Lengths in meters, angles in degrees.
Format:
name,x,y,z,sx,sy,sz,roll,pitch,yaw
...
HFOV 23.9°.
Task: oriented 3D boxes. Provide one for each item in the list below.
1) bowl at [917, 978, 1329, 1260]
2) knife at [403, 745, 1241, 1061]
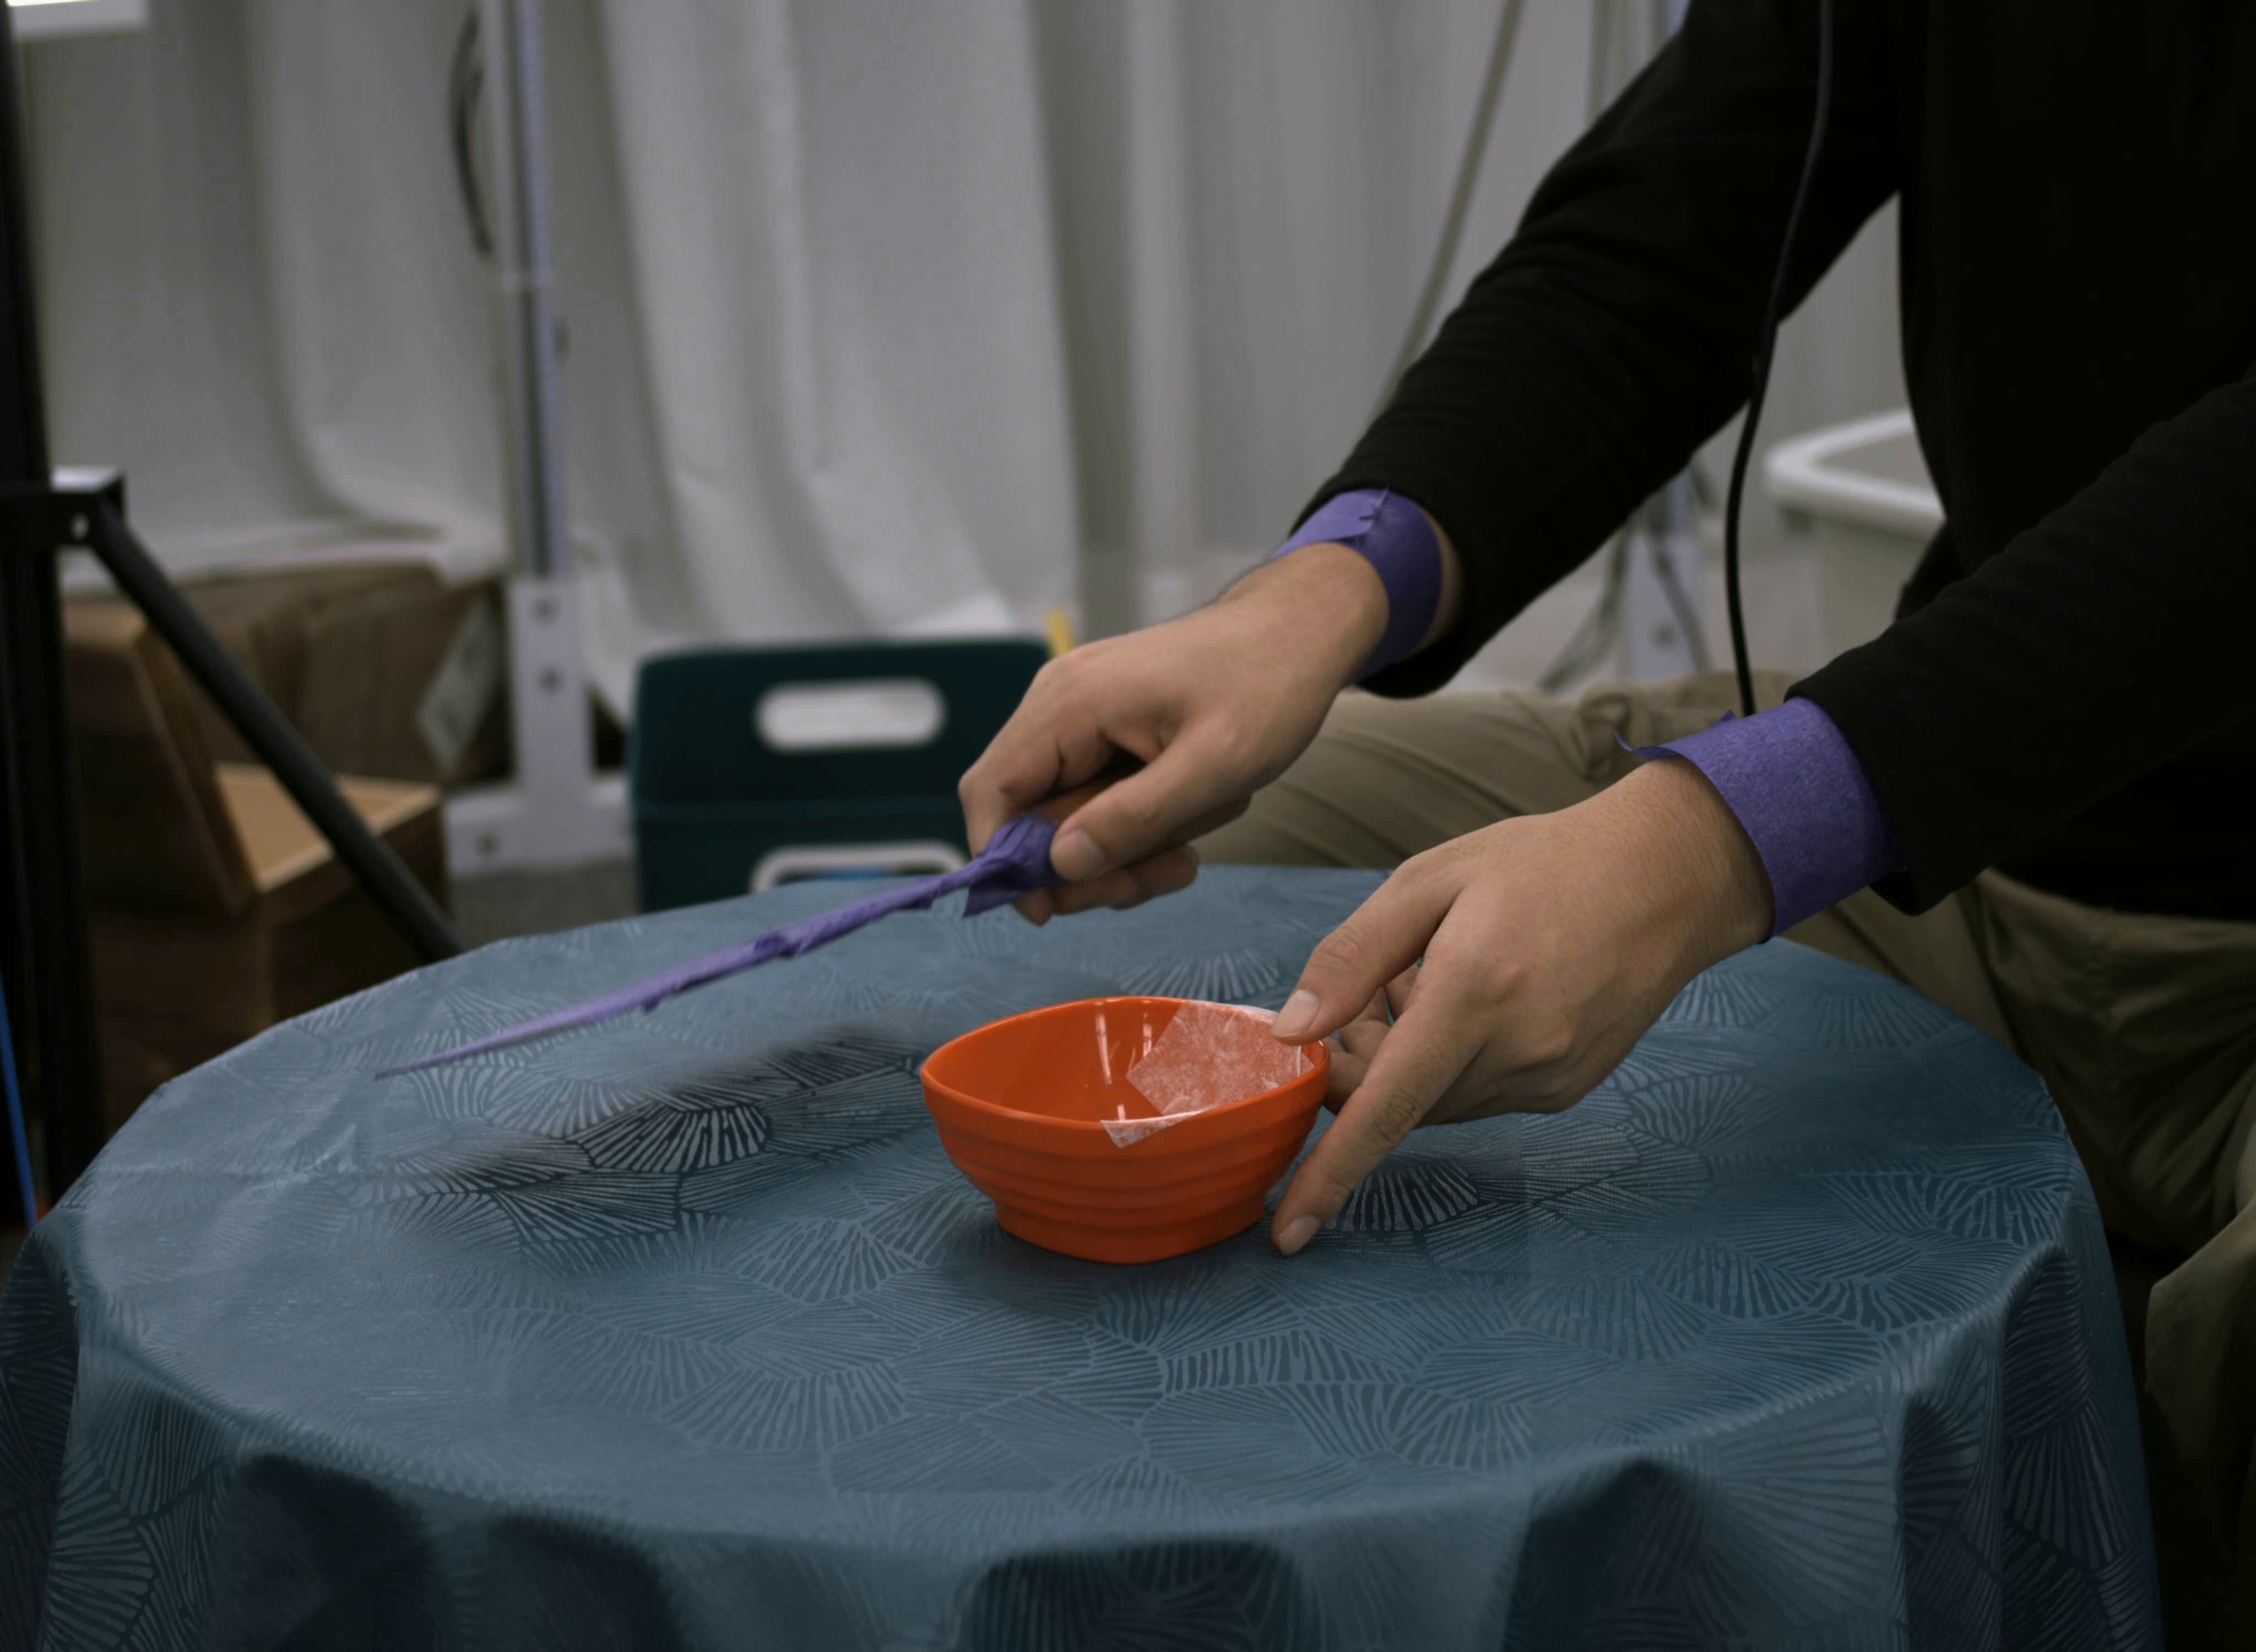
name,x,y,z,sx,sy,sz,roll,pitch,yaw
bowl,0.001,0.087,1.524,0.118,0.051,0.119,-6,17,1
knife,-0.093,0.023,1.662,0.106,0.032,0.308,-15,1,43
